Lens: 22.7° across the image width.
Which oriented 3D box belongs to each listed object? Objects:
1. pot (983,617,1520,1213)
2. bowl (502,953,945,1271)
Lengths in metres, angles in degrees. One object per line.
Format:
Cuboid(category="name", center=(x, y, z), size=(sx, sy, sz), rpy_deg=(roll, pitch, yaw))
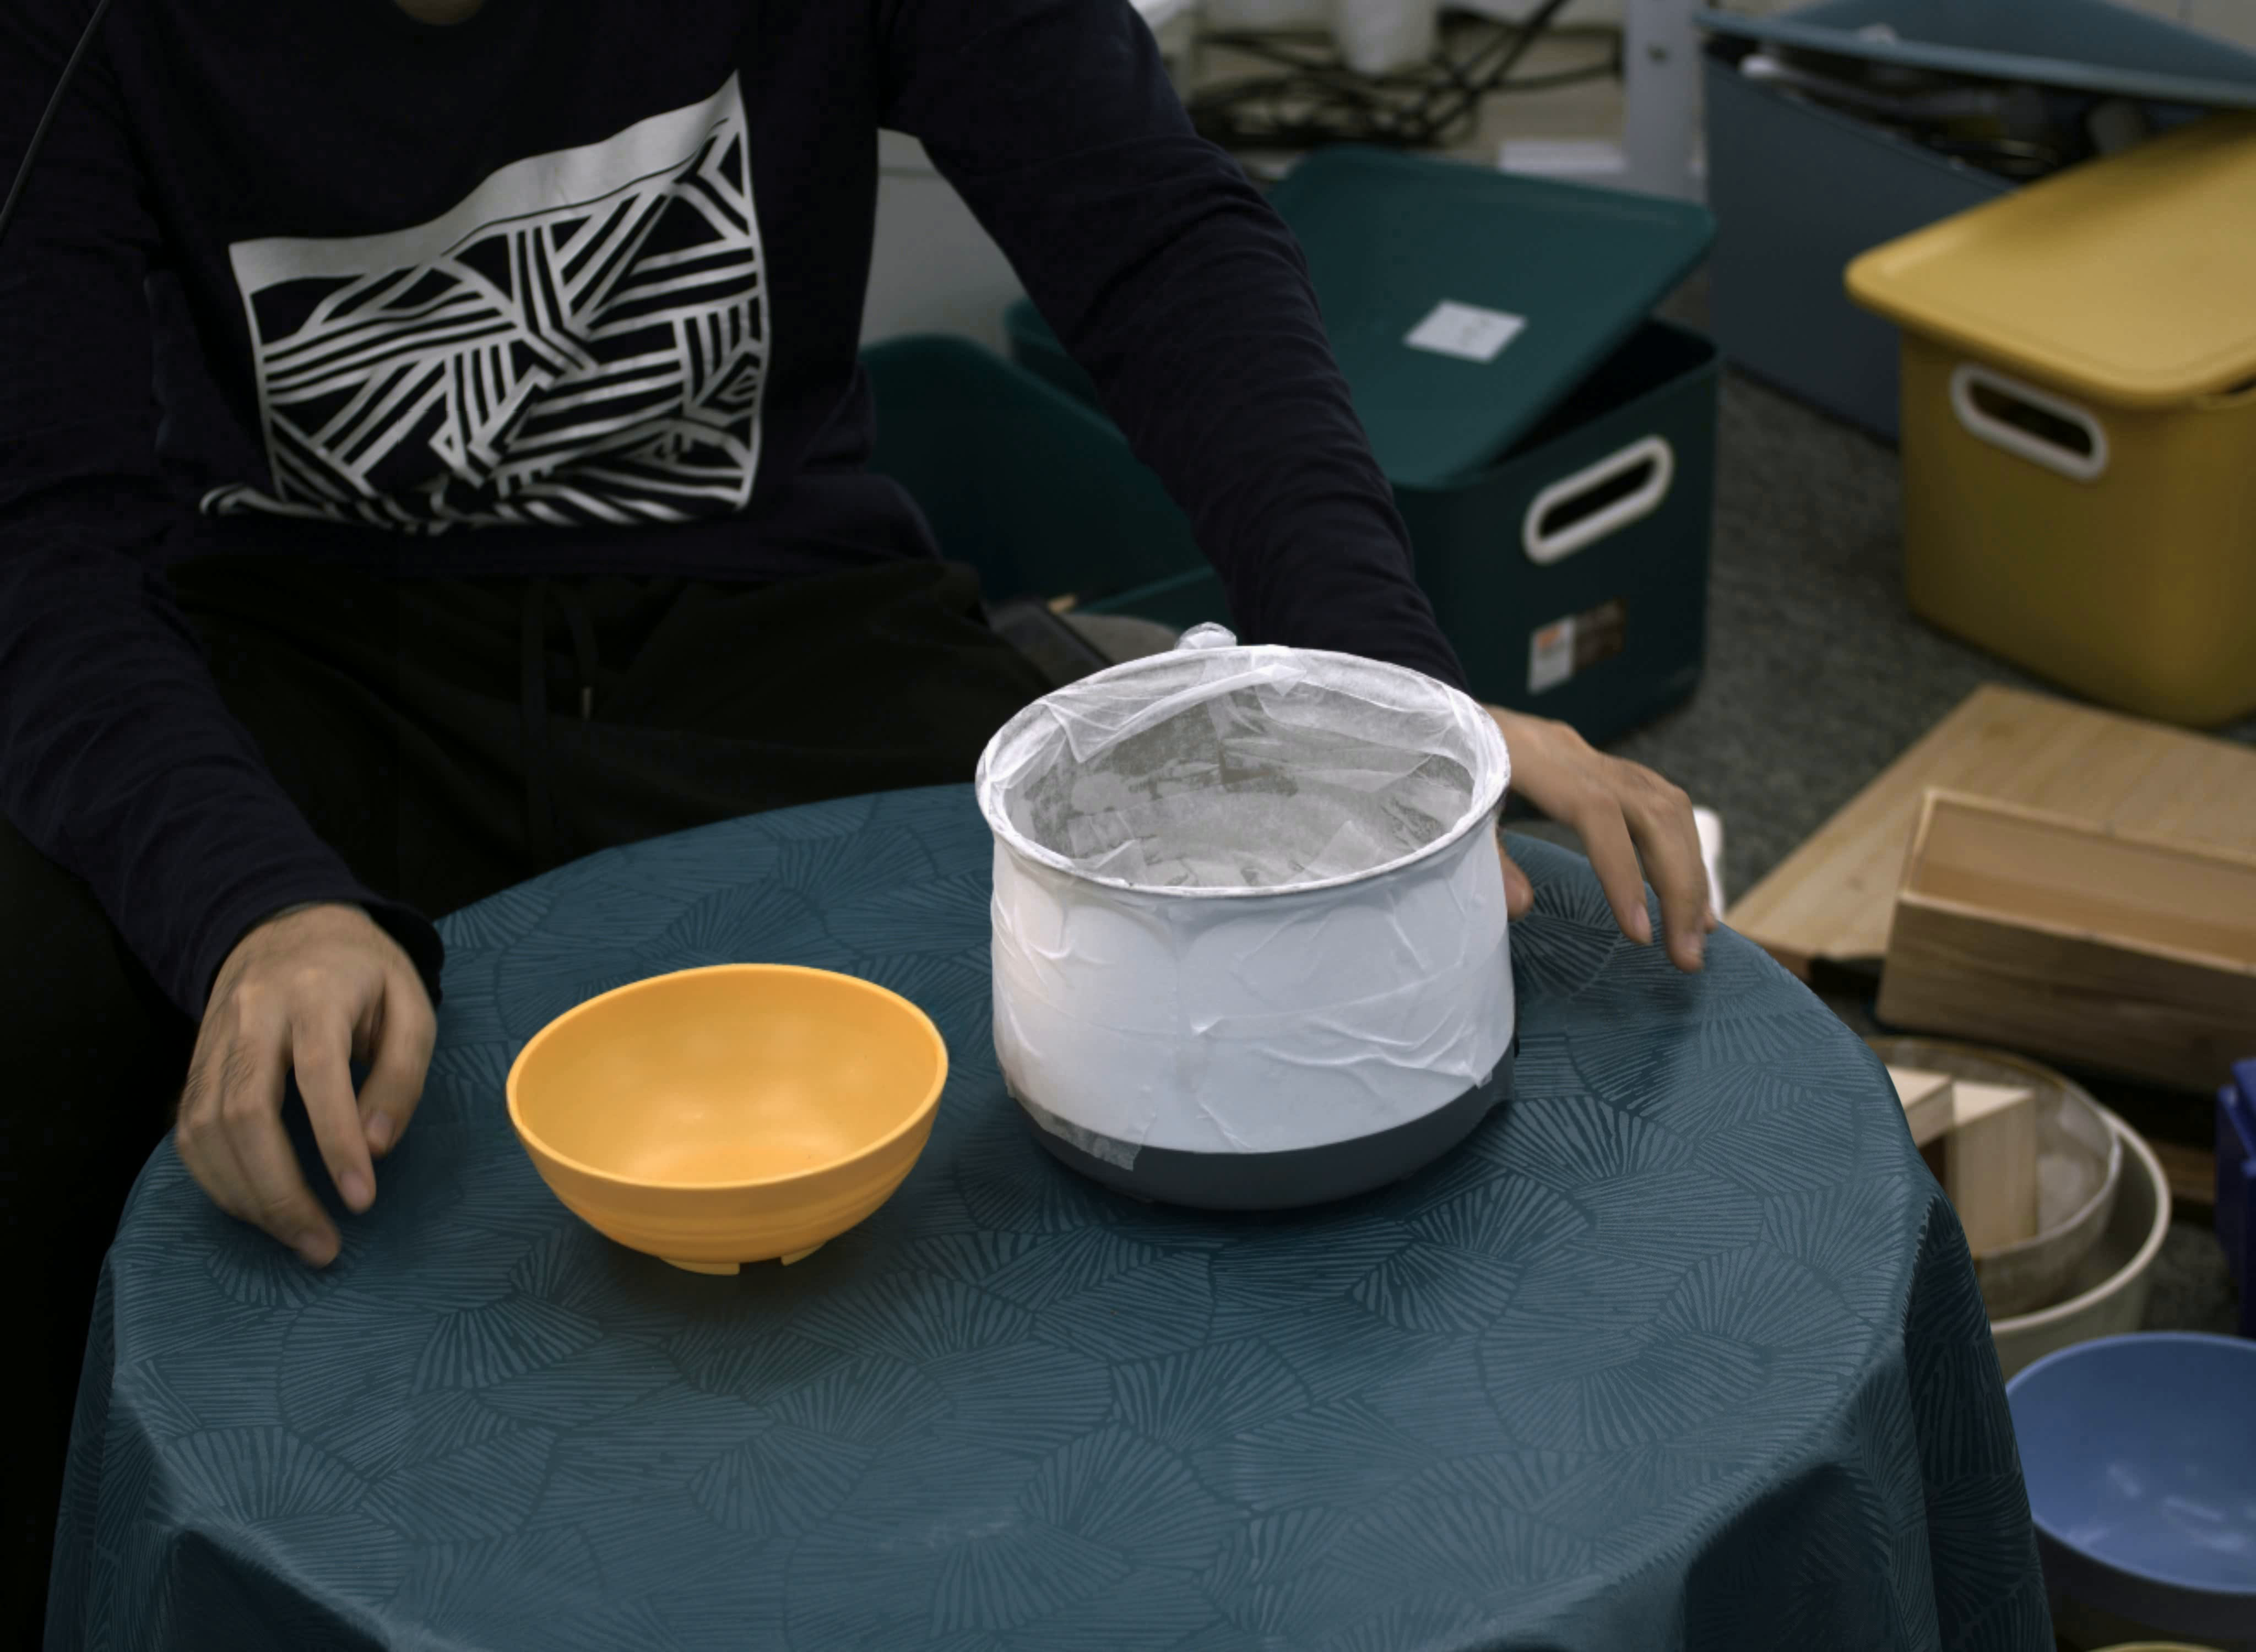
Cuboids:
Cuboid(category="pot", center=(0.037, 0.023, 1.901), size=(0.178, 0.135, 0.237), rpy_deg=(-3, 28, -7))
Cuboid(category="bowl", center=(-0.131, 0.104, 1.841), size=(0.144, 0.059, 0.147), rpy_deg=(-1, 28, 1))
